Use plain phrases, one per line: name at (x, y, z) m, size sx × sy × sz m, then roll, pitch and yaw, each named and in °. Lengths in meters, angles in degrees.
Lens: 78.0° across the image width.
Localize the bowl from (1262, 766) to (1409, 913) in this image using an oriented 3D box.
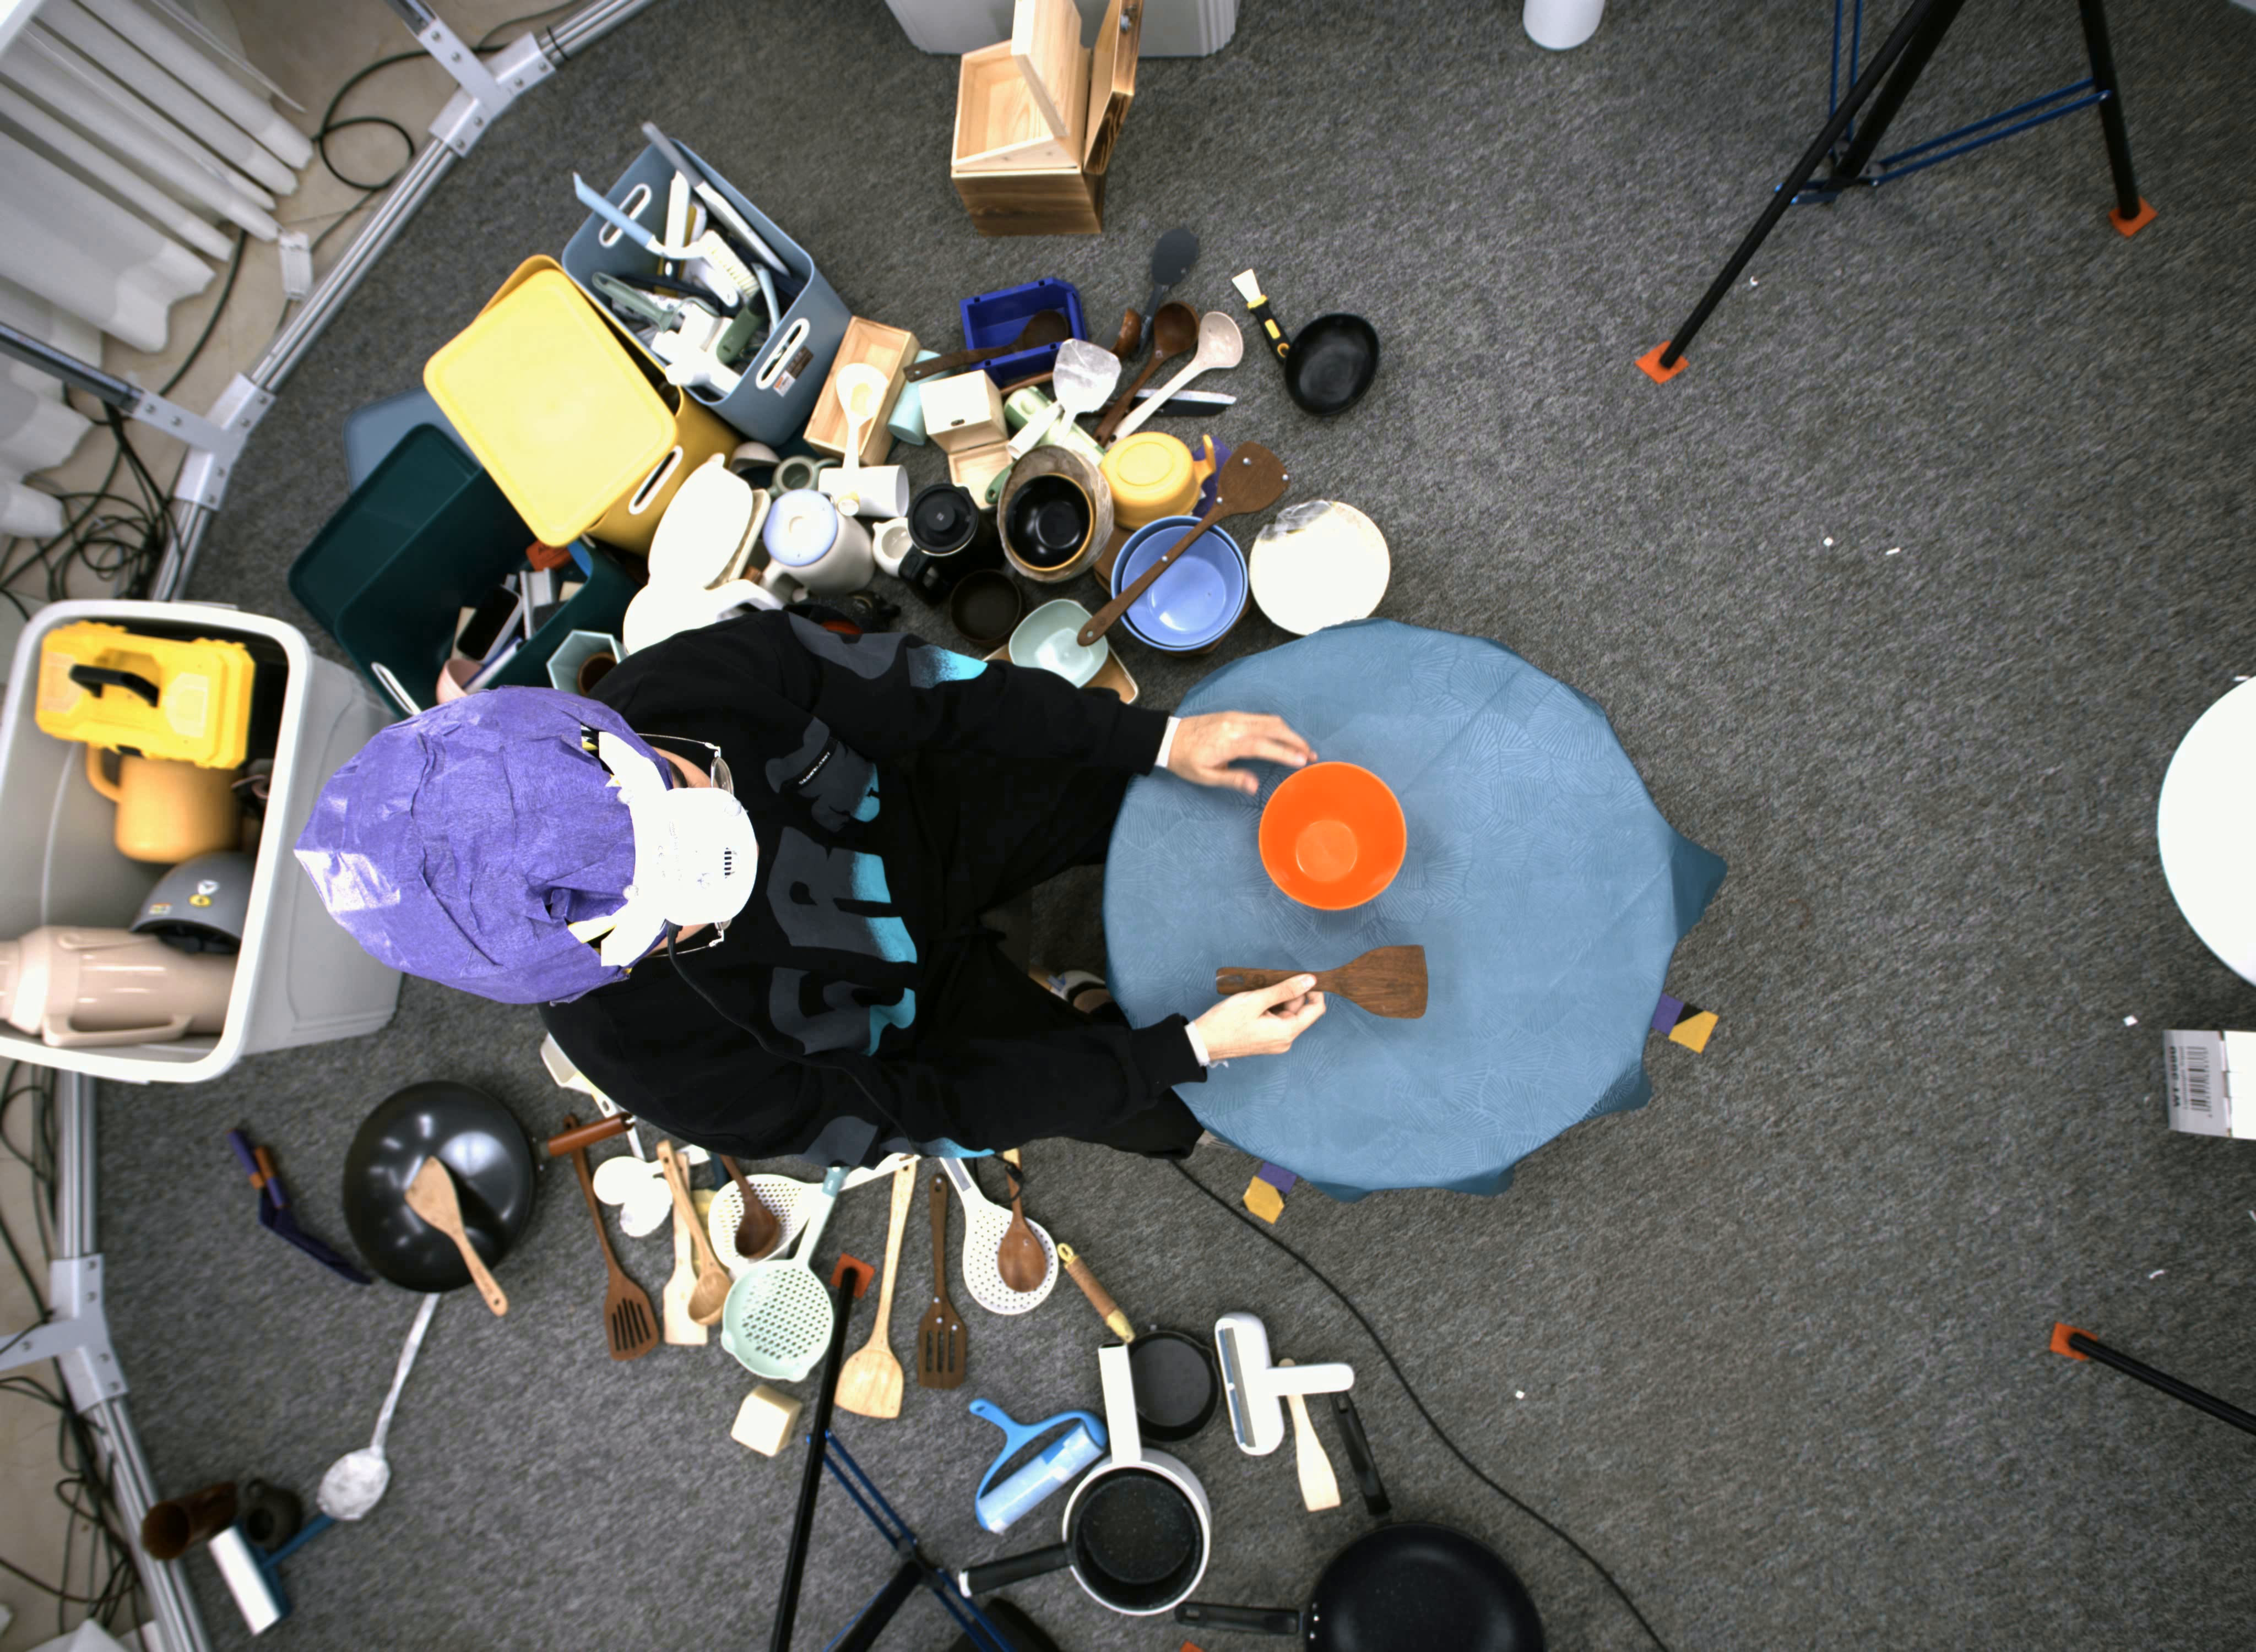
bowl at (0.215, 0.017, 1.429) m, size 0.148 × 0.104 × 0.147 m, roll -1°, pitch 86°, yaw 11°

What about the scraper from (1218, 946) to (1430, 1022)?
scraper at (0.196, 0.156, 1.390) m, size 0.212 × 0.011 × 0.075 m, roll 1°, pitch 87°, yaw 4°
